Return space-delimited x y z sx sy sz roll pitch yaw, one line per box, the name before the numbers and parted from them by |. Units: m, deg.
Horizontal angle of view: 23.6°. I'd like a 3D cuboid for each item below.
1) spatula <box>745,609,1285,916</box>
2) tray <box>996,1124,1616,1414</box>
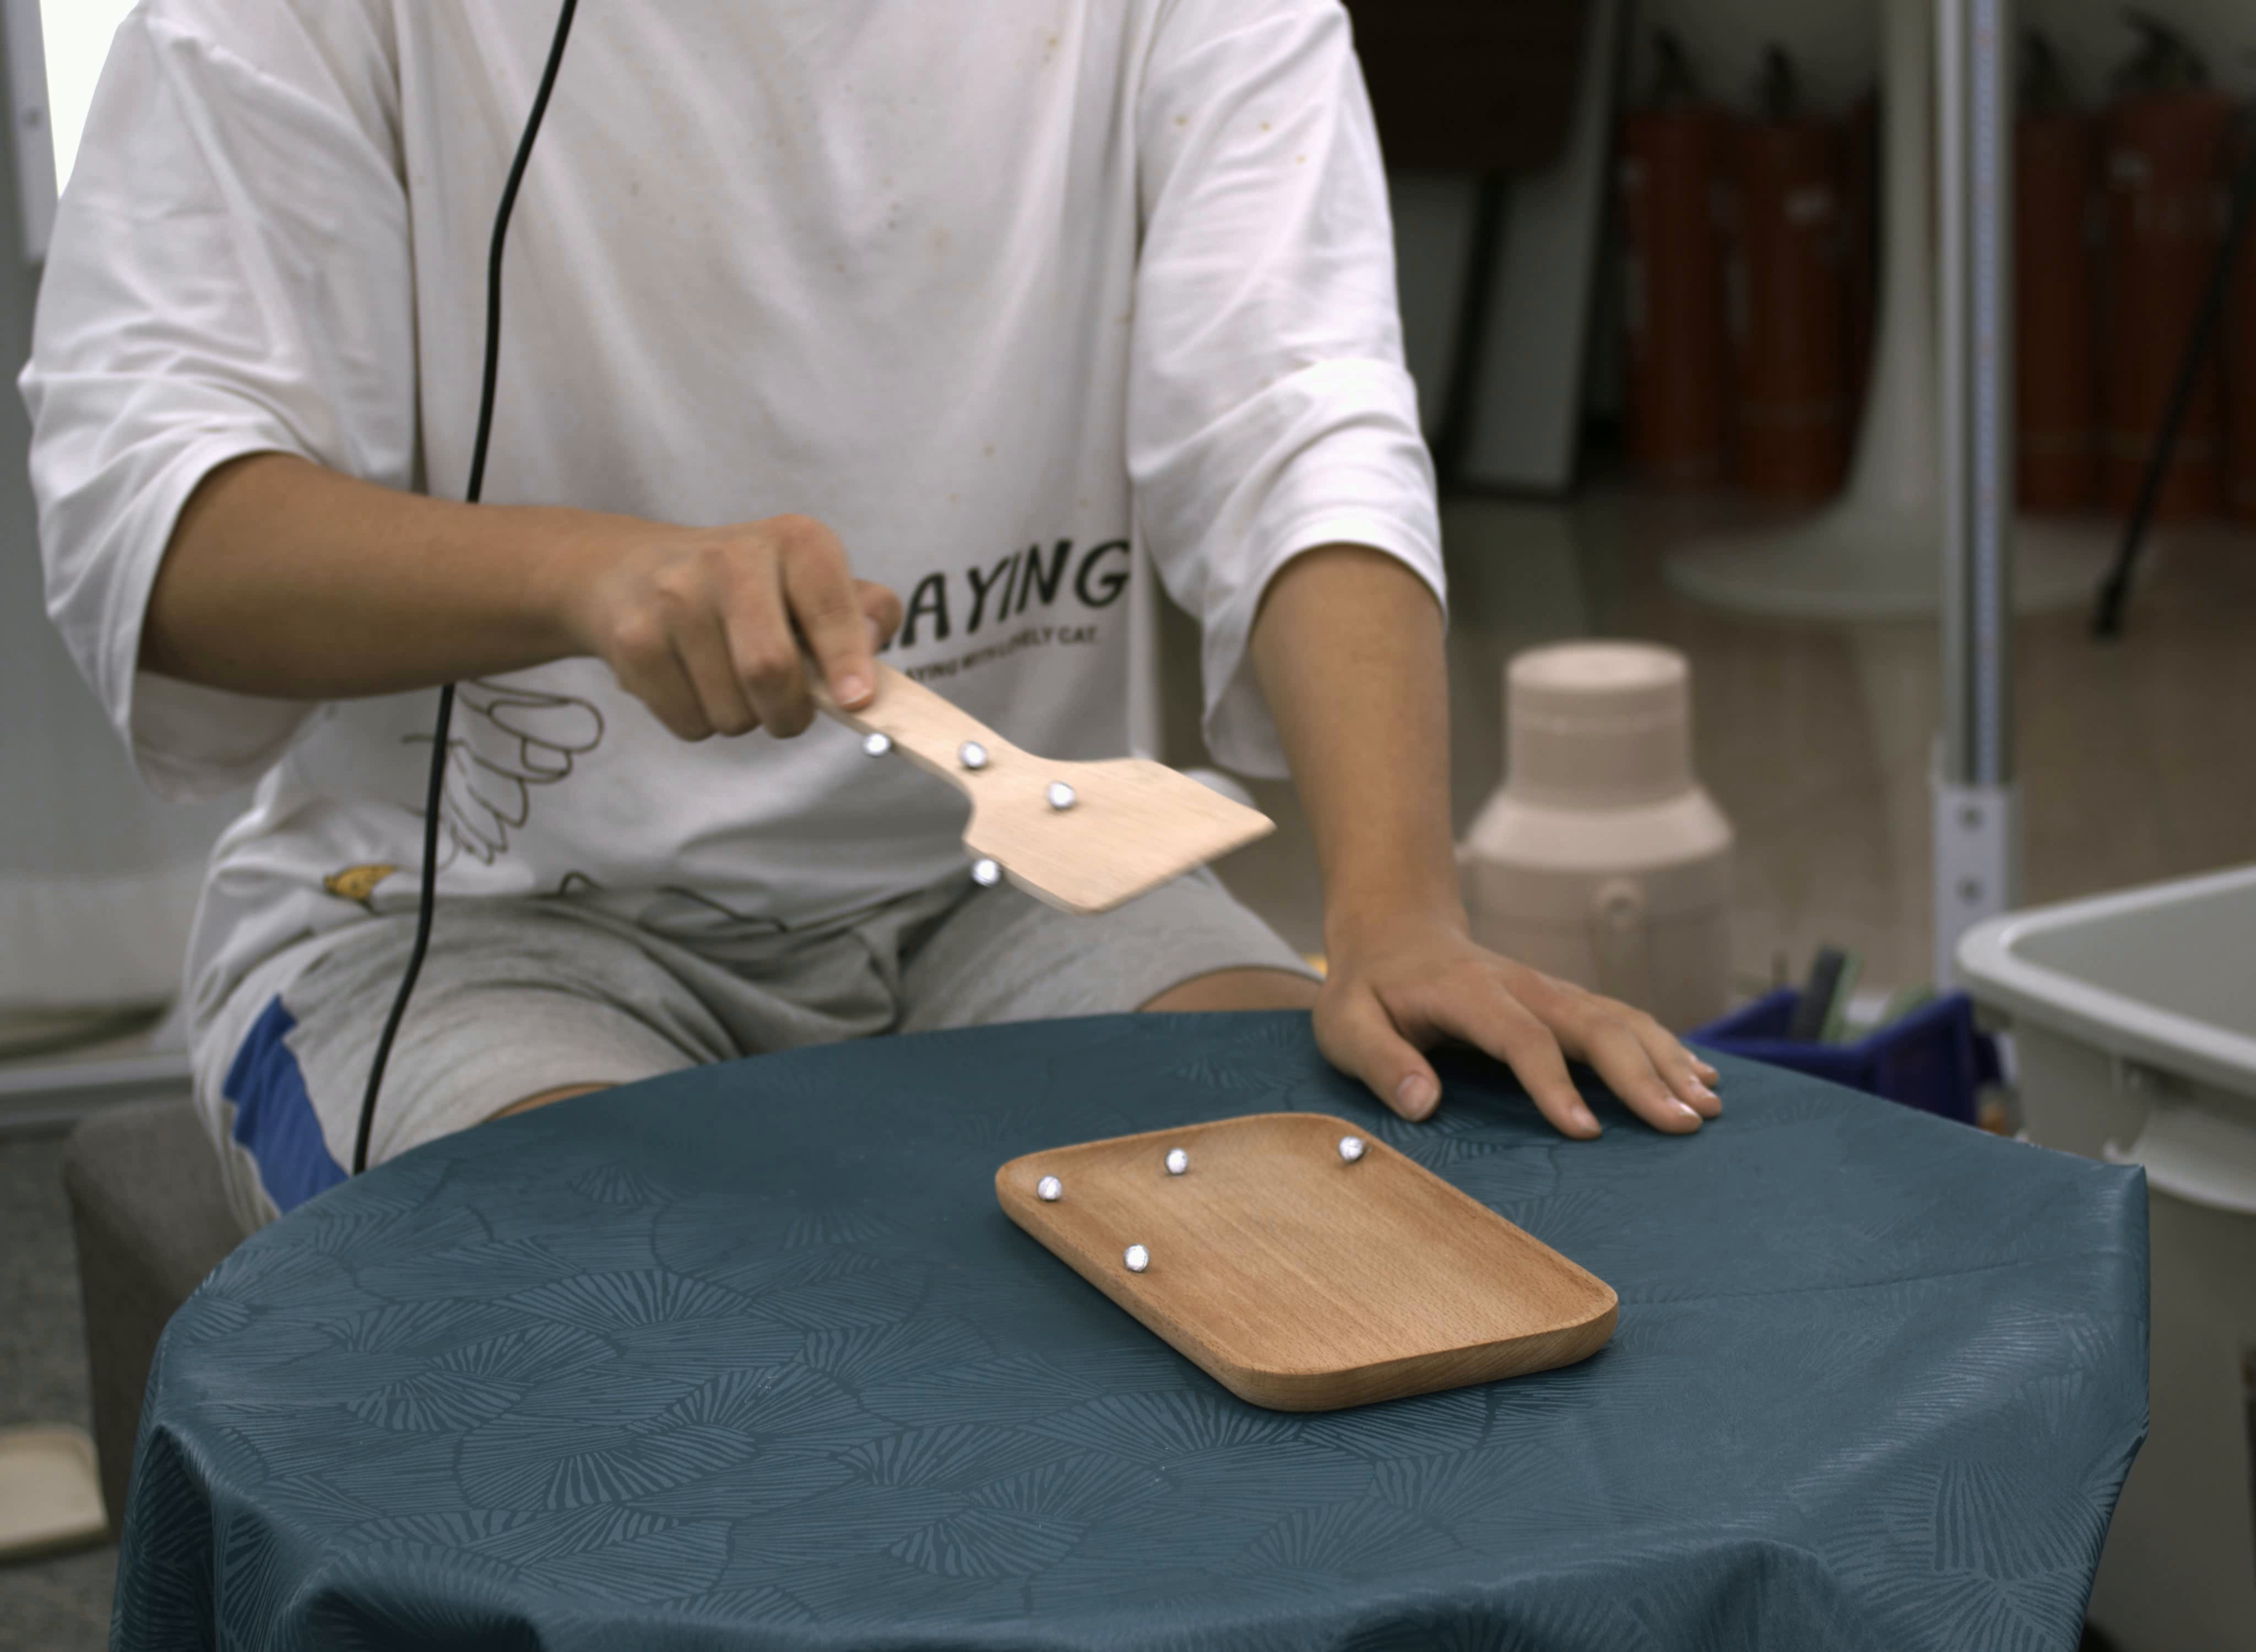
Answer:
spatula | -0.052 -0.026 1.744 0.071 0.011 0.296 -24 28 -22
tray | 0.051 0.135 1.672 0.128 0.023 0.253 -10 15 -17
